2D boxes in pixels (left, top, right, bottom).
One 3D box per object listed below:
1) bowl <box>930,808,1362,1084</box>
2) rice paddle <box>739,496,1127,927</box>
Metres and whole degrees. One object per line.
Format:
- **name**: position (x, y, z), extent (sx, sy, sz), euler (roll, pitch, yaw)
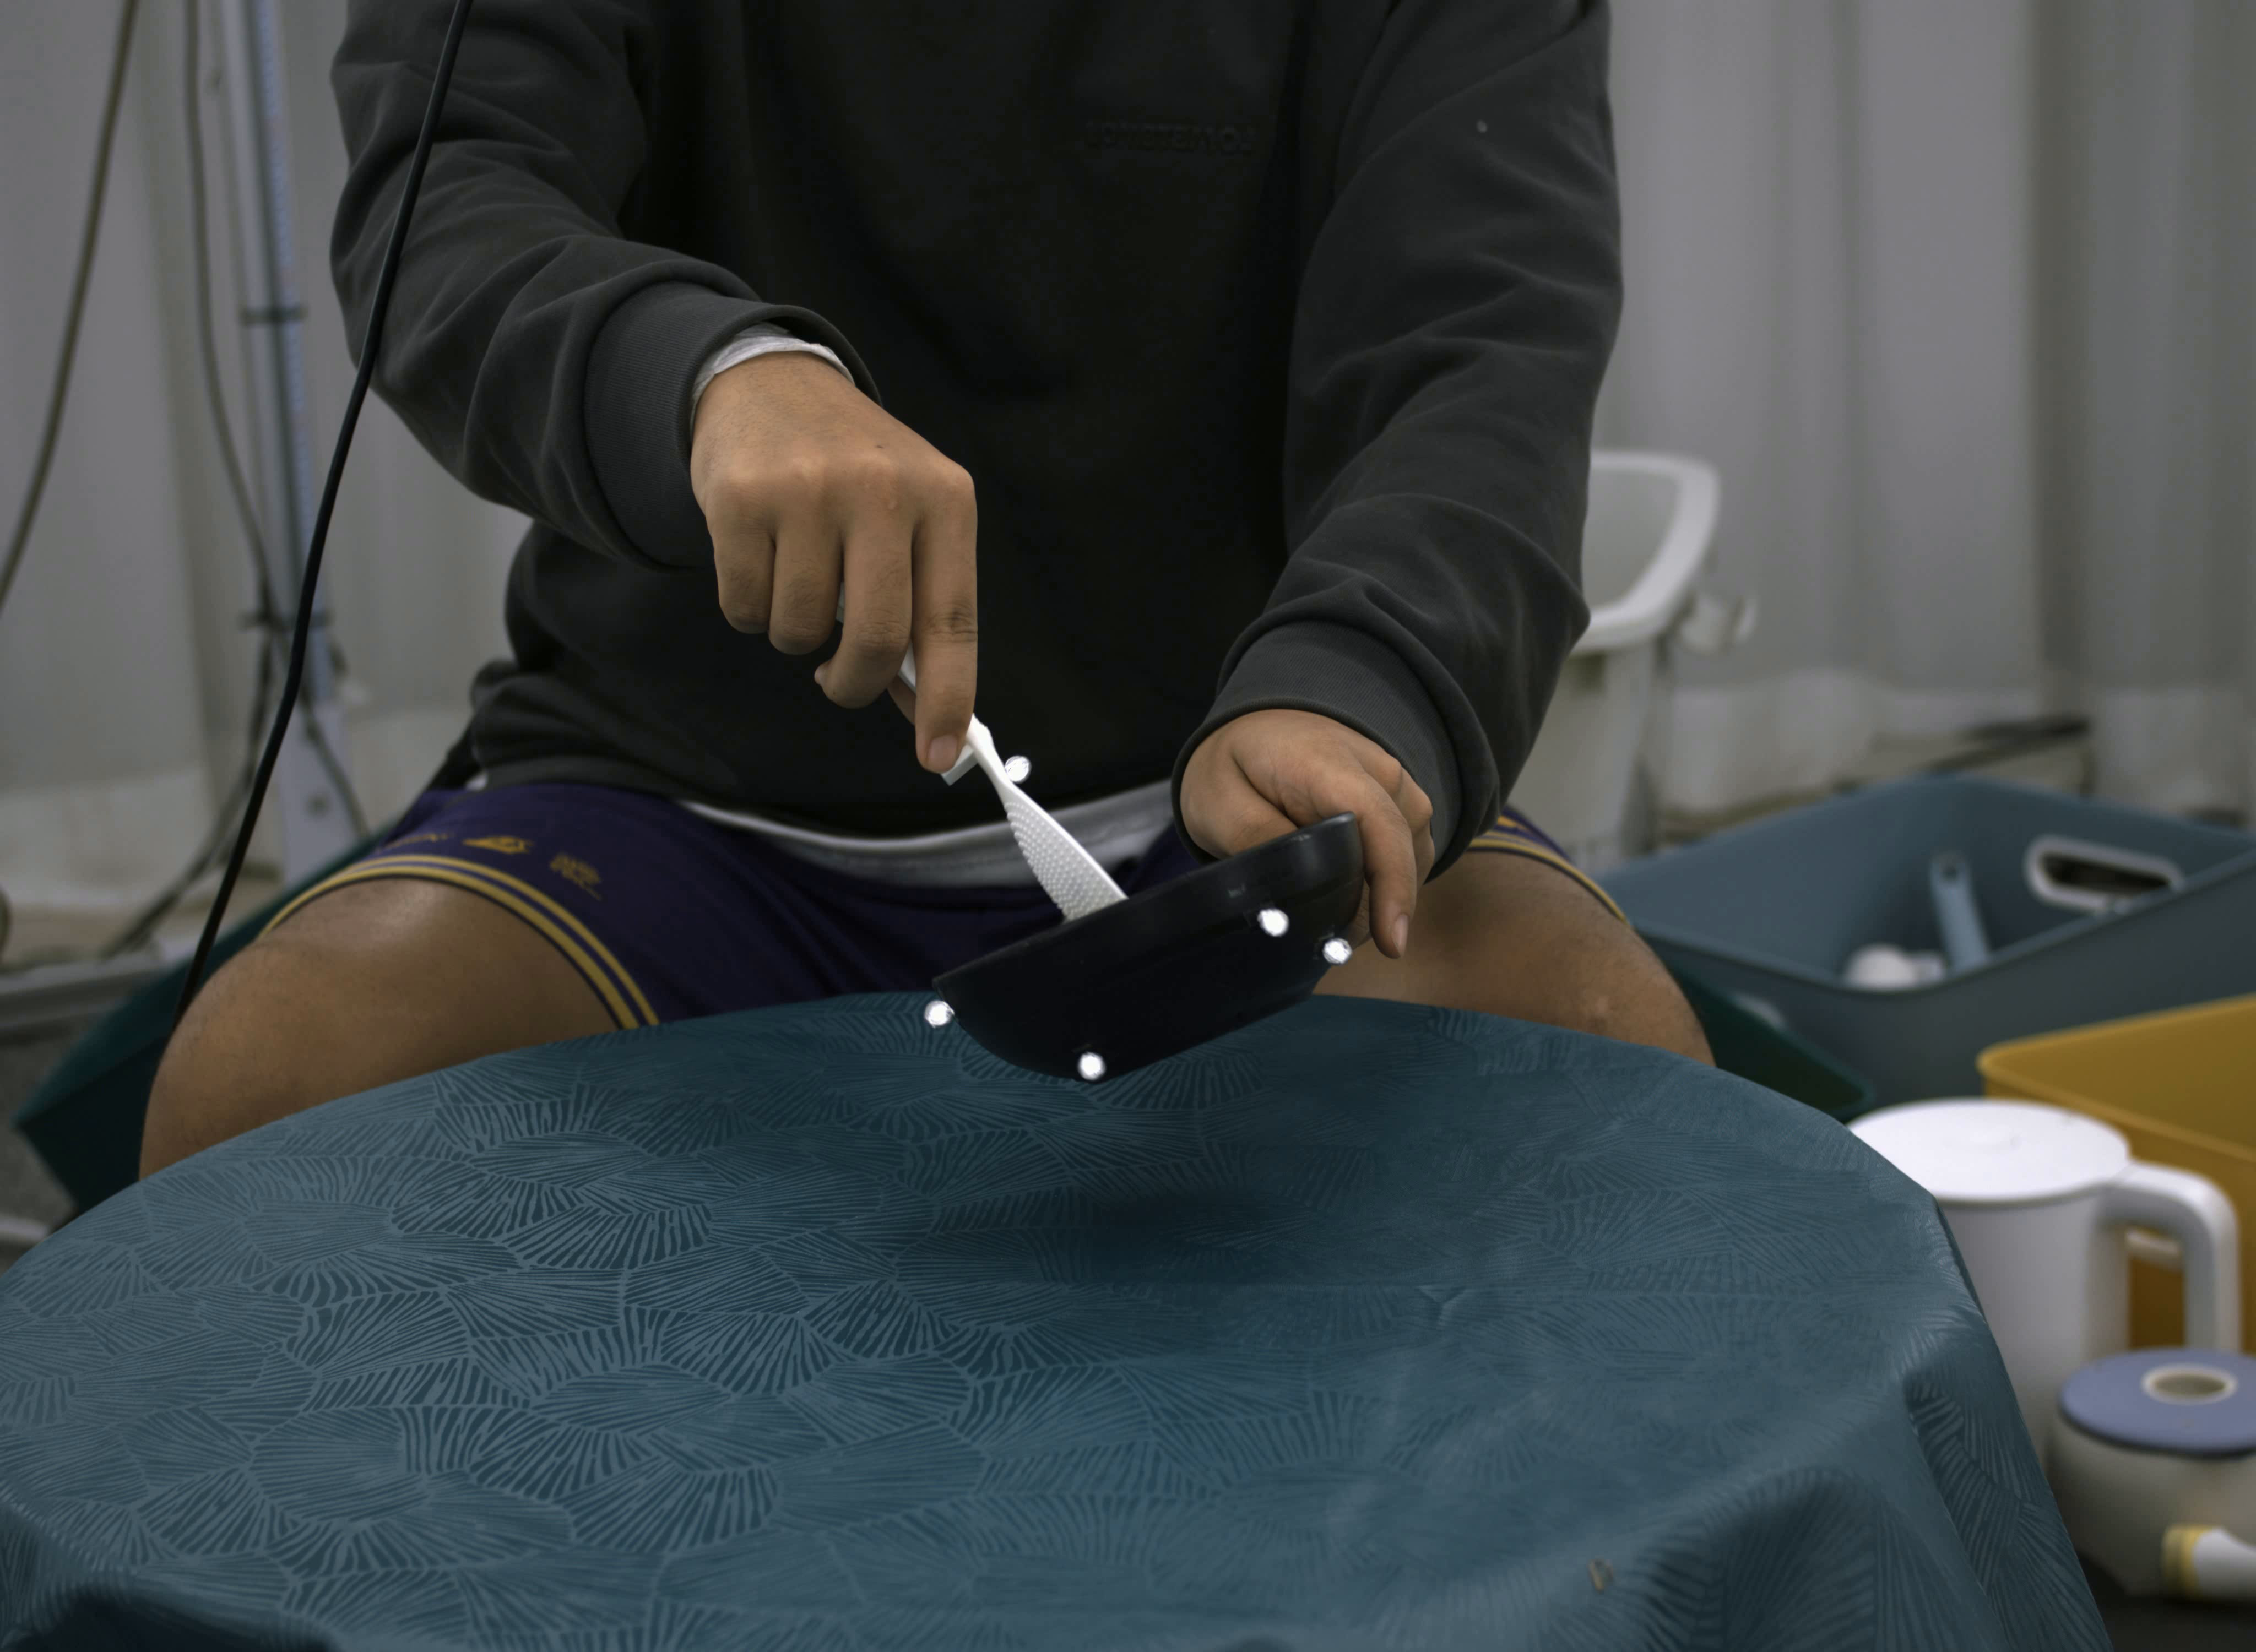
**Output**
- **bowl**: position (0.013, 0.043, 1.655), extent (0.139, 0.050, 0.140), euler (-22, -2, -1)
- **rice paddle**: position (-0.043, -0.020, 1.681), extent (0.029, 0.206, 0.068), euler (-41, -15, -4)
